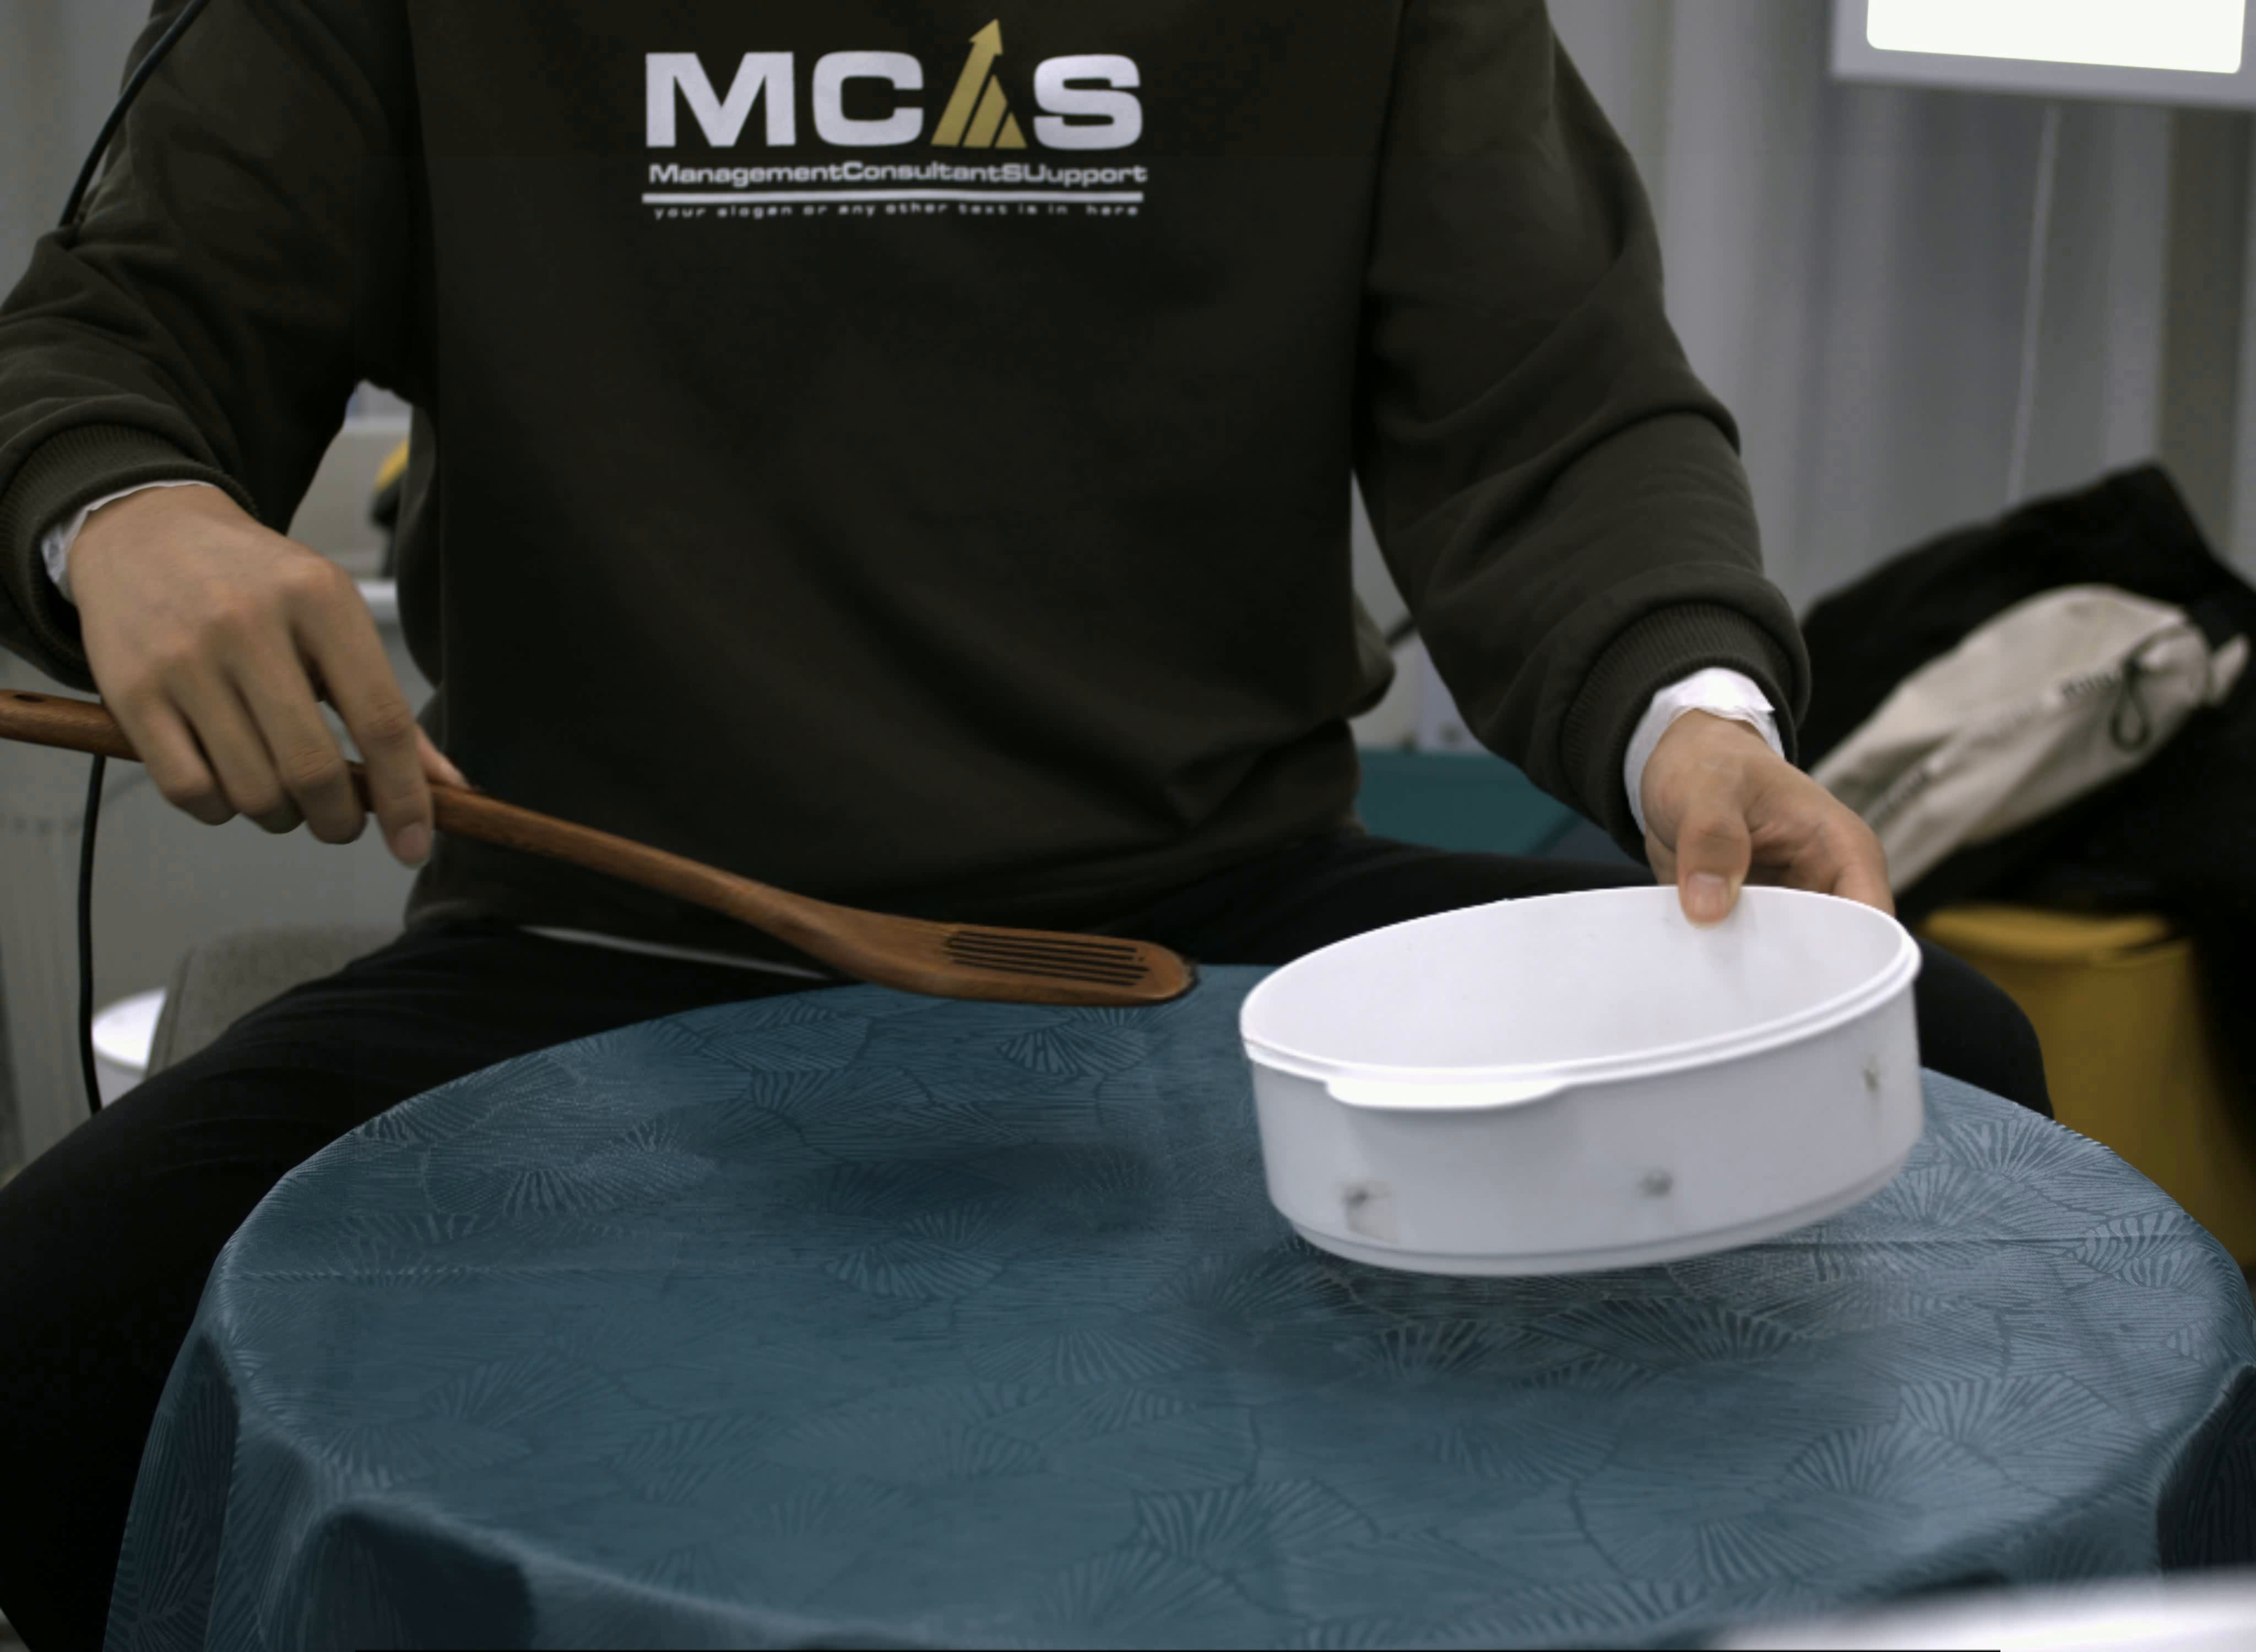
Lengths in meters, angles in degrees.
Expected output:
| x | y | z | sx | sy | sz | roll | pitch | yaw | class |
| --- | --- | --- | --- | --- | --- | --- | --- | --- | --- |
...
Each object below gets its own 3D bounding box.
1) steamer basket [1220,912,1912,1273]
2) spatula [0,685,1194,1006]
| x | y | z | sx | sy | sz | roll | pitch | yaw | class |
| --- | --- | --- | --- | --- | --- | --- | --- | --- | --- |
| 0.129 | 0.077 | 1.537 | 0.200 | 0.070 | 0.231 | 1 | 12 | 28 | steamer basket |
| -0.167 | 0.009 | 1.626 | 0.385 | 0.024 | 0.085 | 14 | 10 | -4 | spatula |
